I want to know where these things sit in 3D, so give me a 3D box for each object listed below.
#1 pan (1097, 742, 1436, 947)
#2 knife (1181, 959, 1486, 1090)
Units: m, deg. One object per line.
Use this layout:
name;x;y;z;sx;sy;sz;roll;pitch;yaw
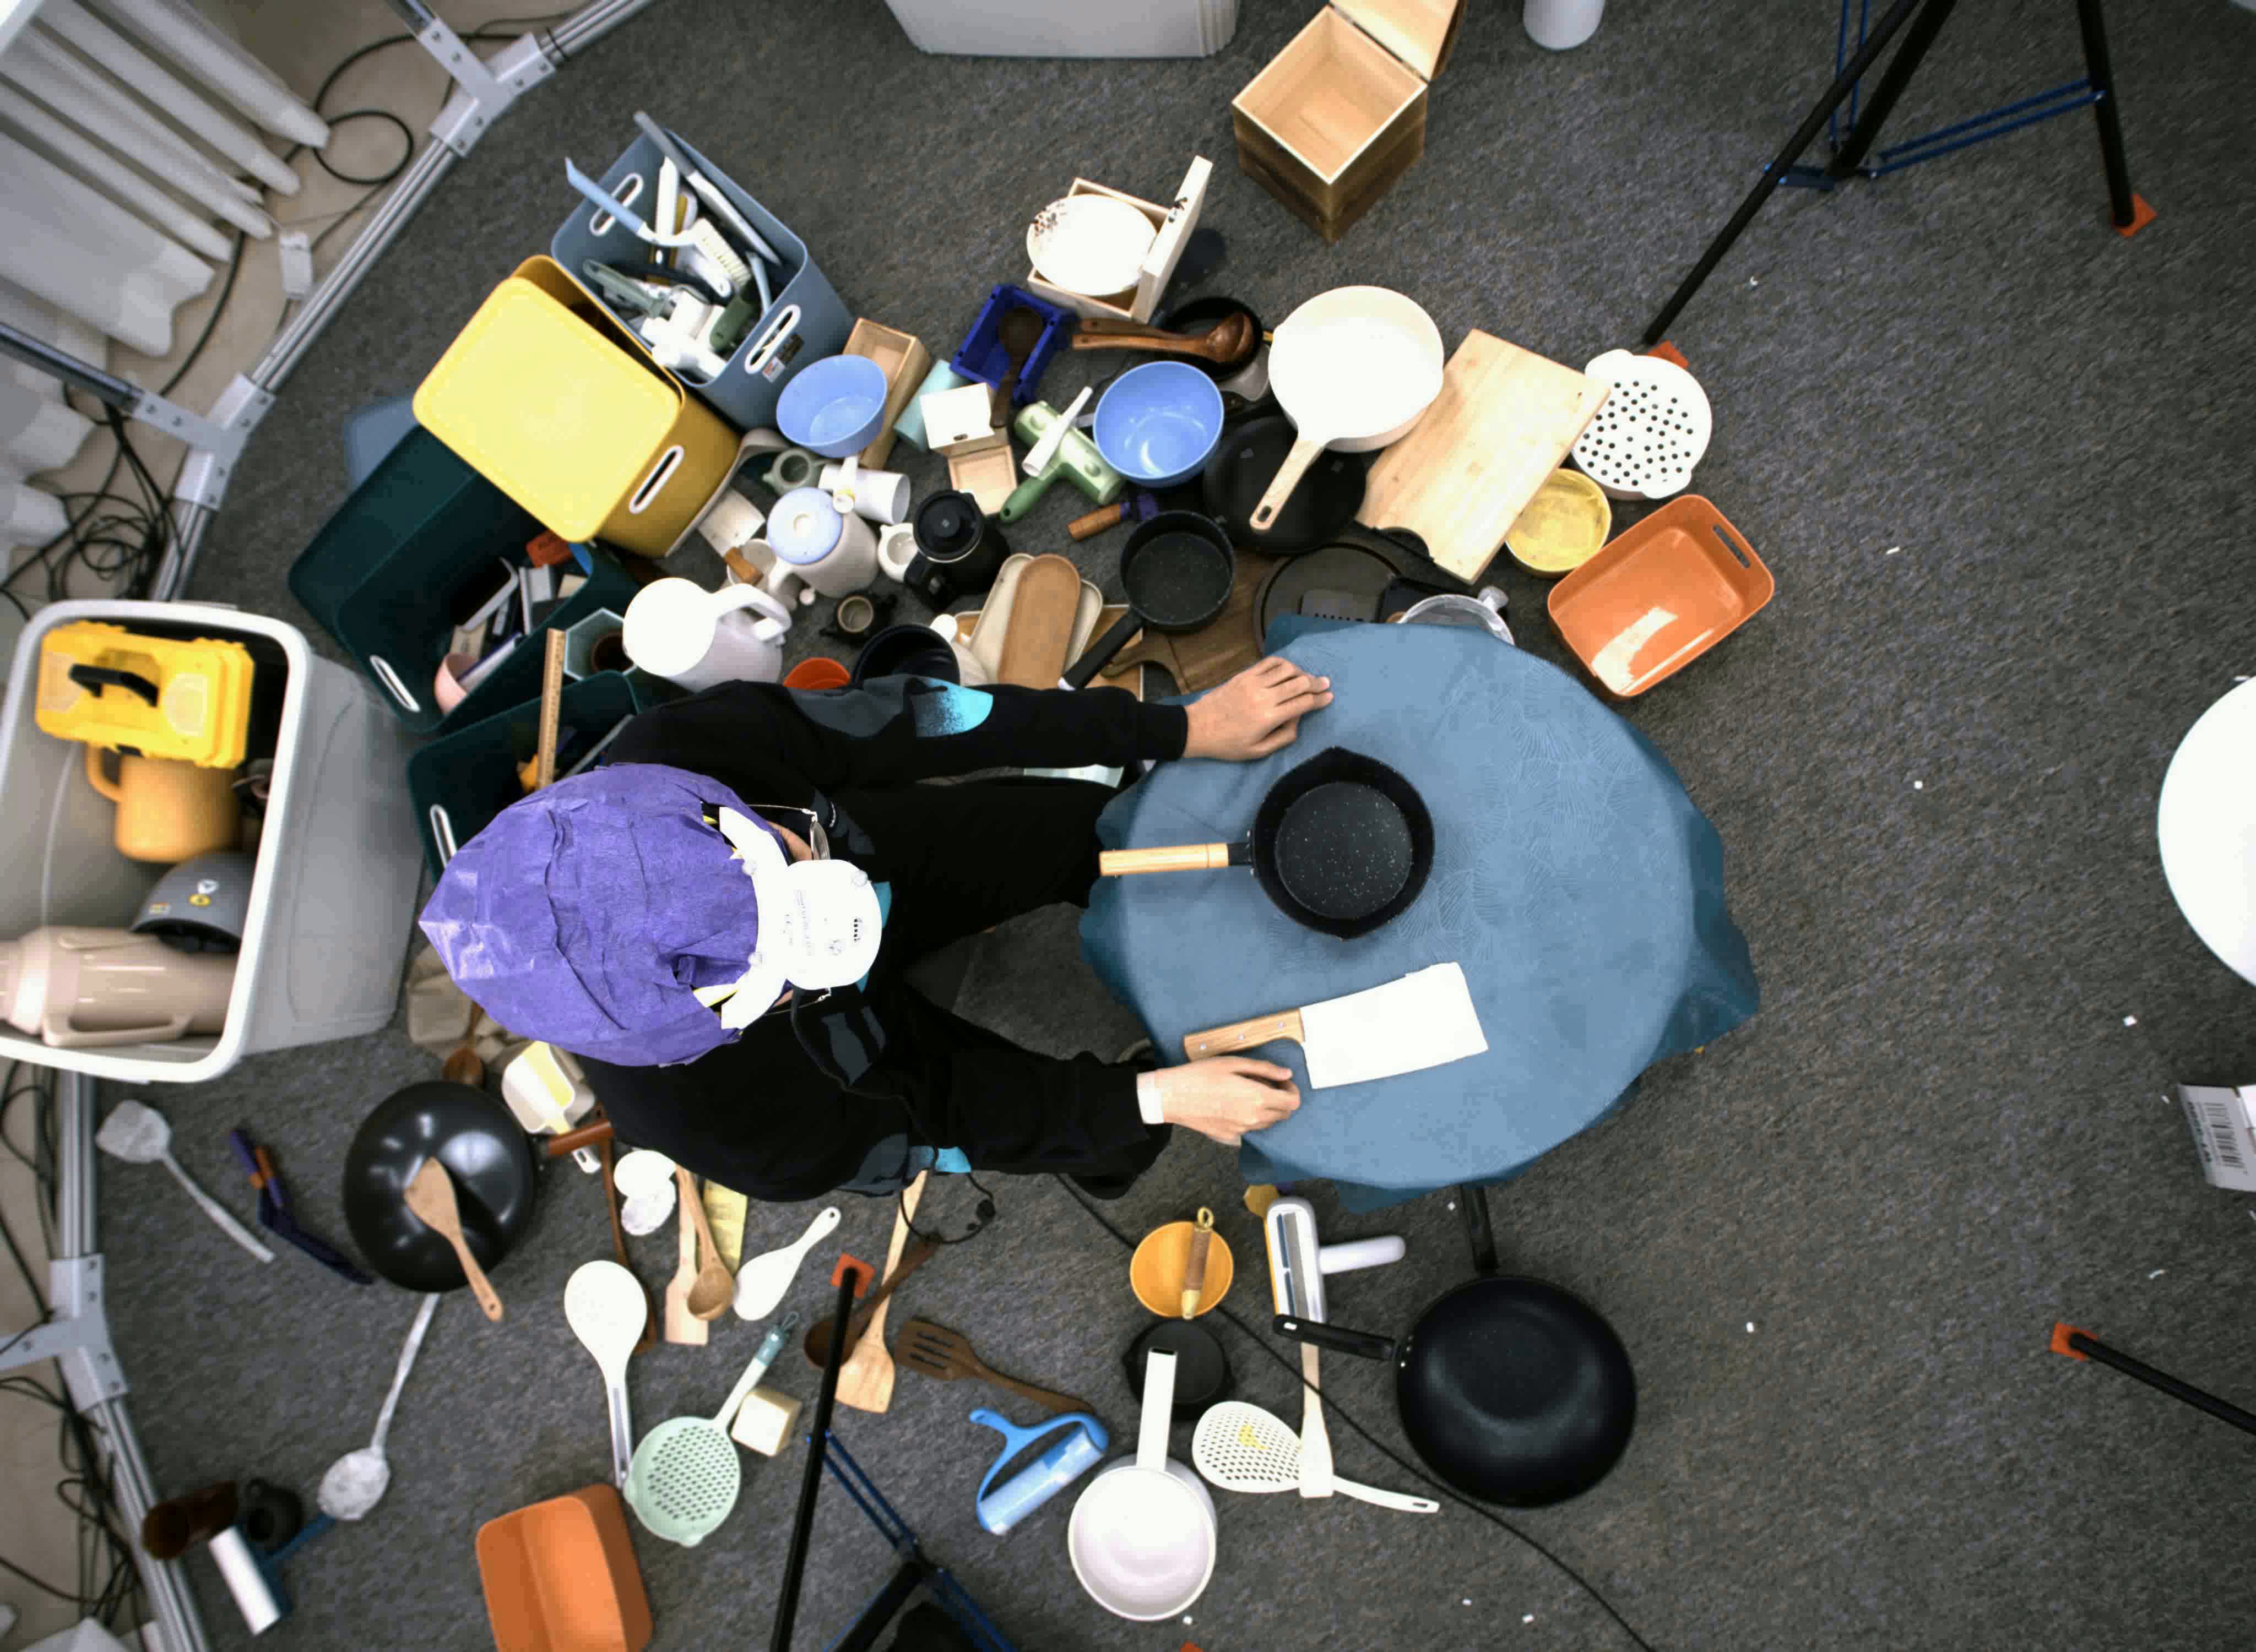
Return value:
pan;0.143;0.029;1.430;0.344;0.108;0.206;-7;86;9
knife;0.212;0.216;1.453;0.317;0.022;0.113;-11;85;7
